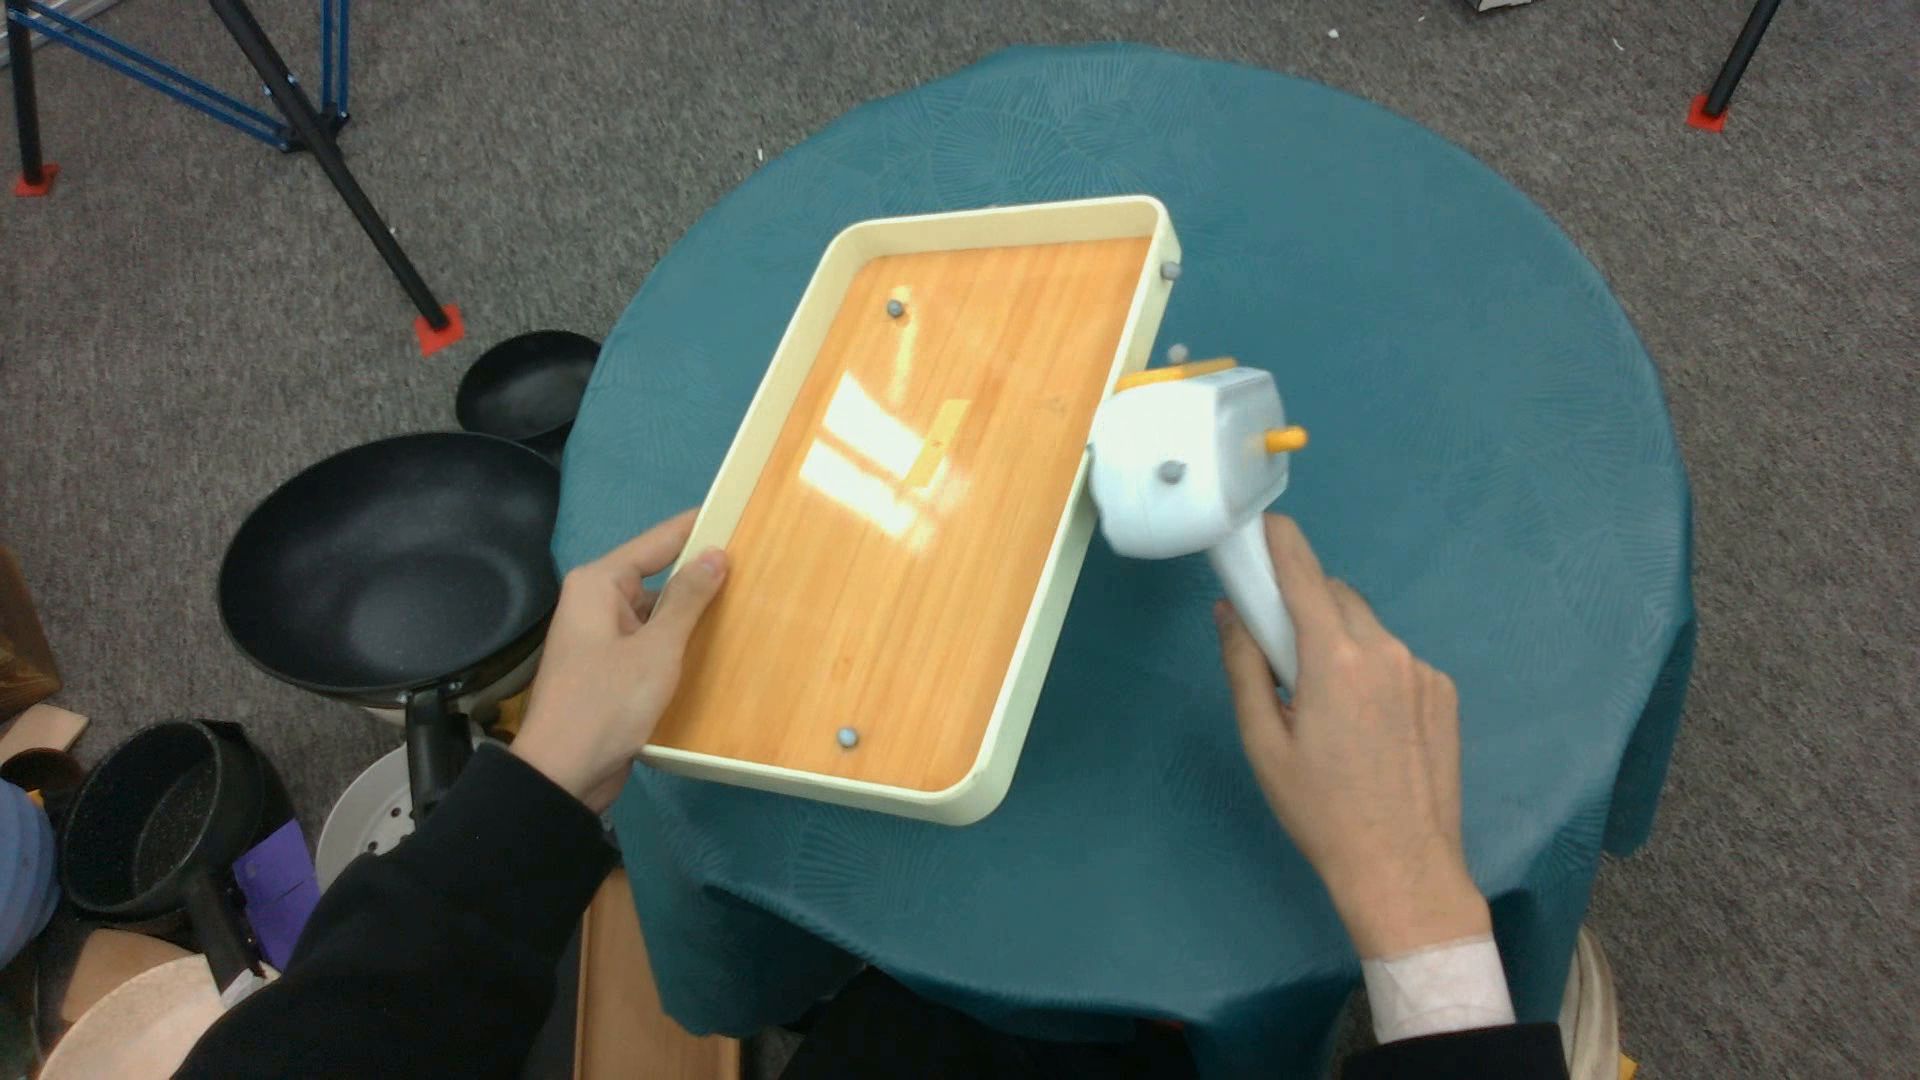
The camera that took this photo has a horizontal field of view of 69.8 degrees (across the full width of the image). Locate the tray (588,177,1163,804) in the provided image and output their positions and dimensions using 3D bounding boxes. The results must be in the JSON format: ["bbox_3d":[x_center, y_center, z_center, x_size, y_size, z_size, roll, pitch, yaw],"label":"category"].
[{"bbox_3d":[-0.033,-0.037,0.611,0.191,0.027,0.301,3,59,31],"label":"tray"}]

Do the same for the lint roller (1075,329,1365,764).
[{"bbox_3d":[0.116,0.008,0.580,0.074,0.193,0.192,-16,98,18],"label":"lint roller"}]
